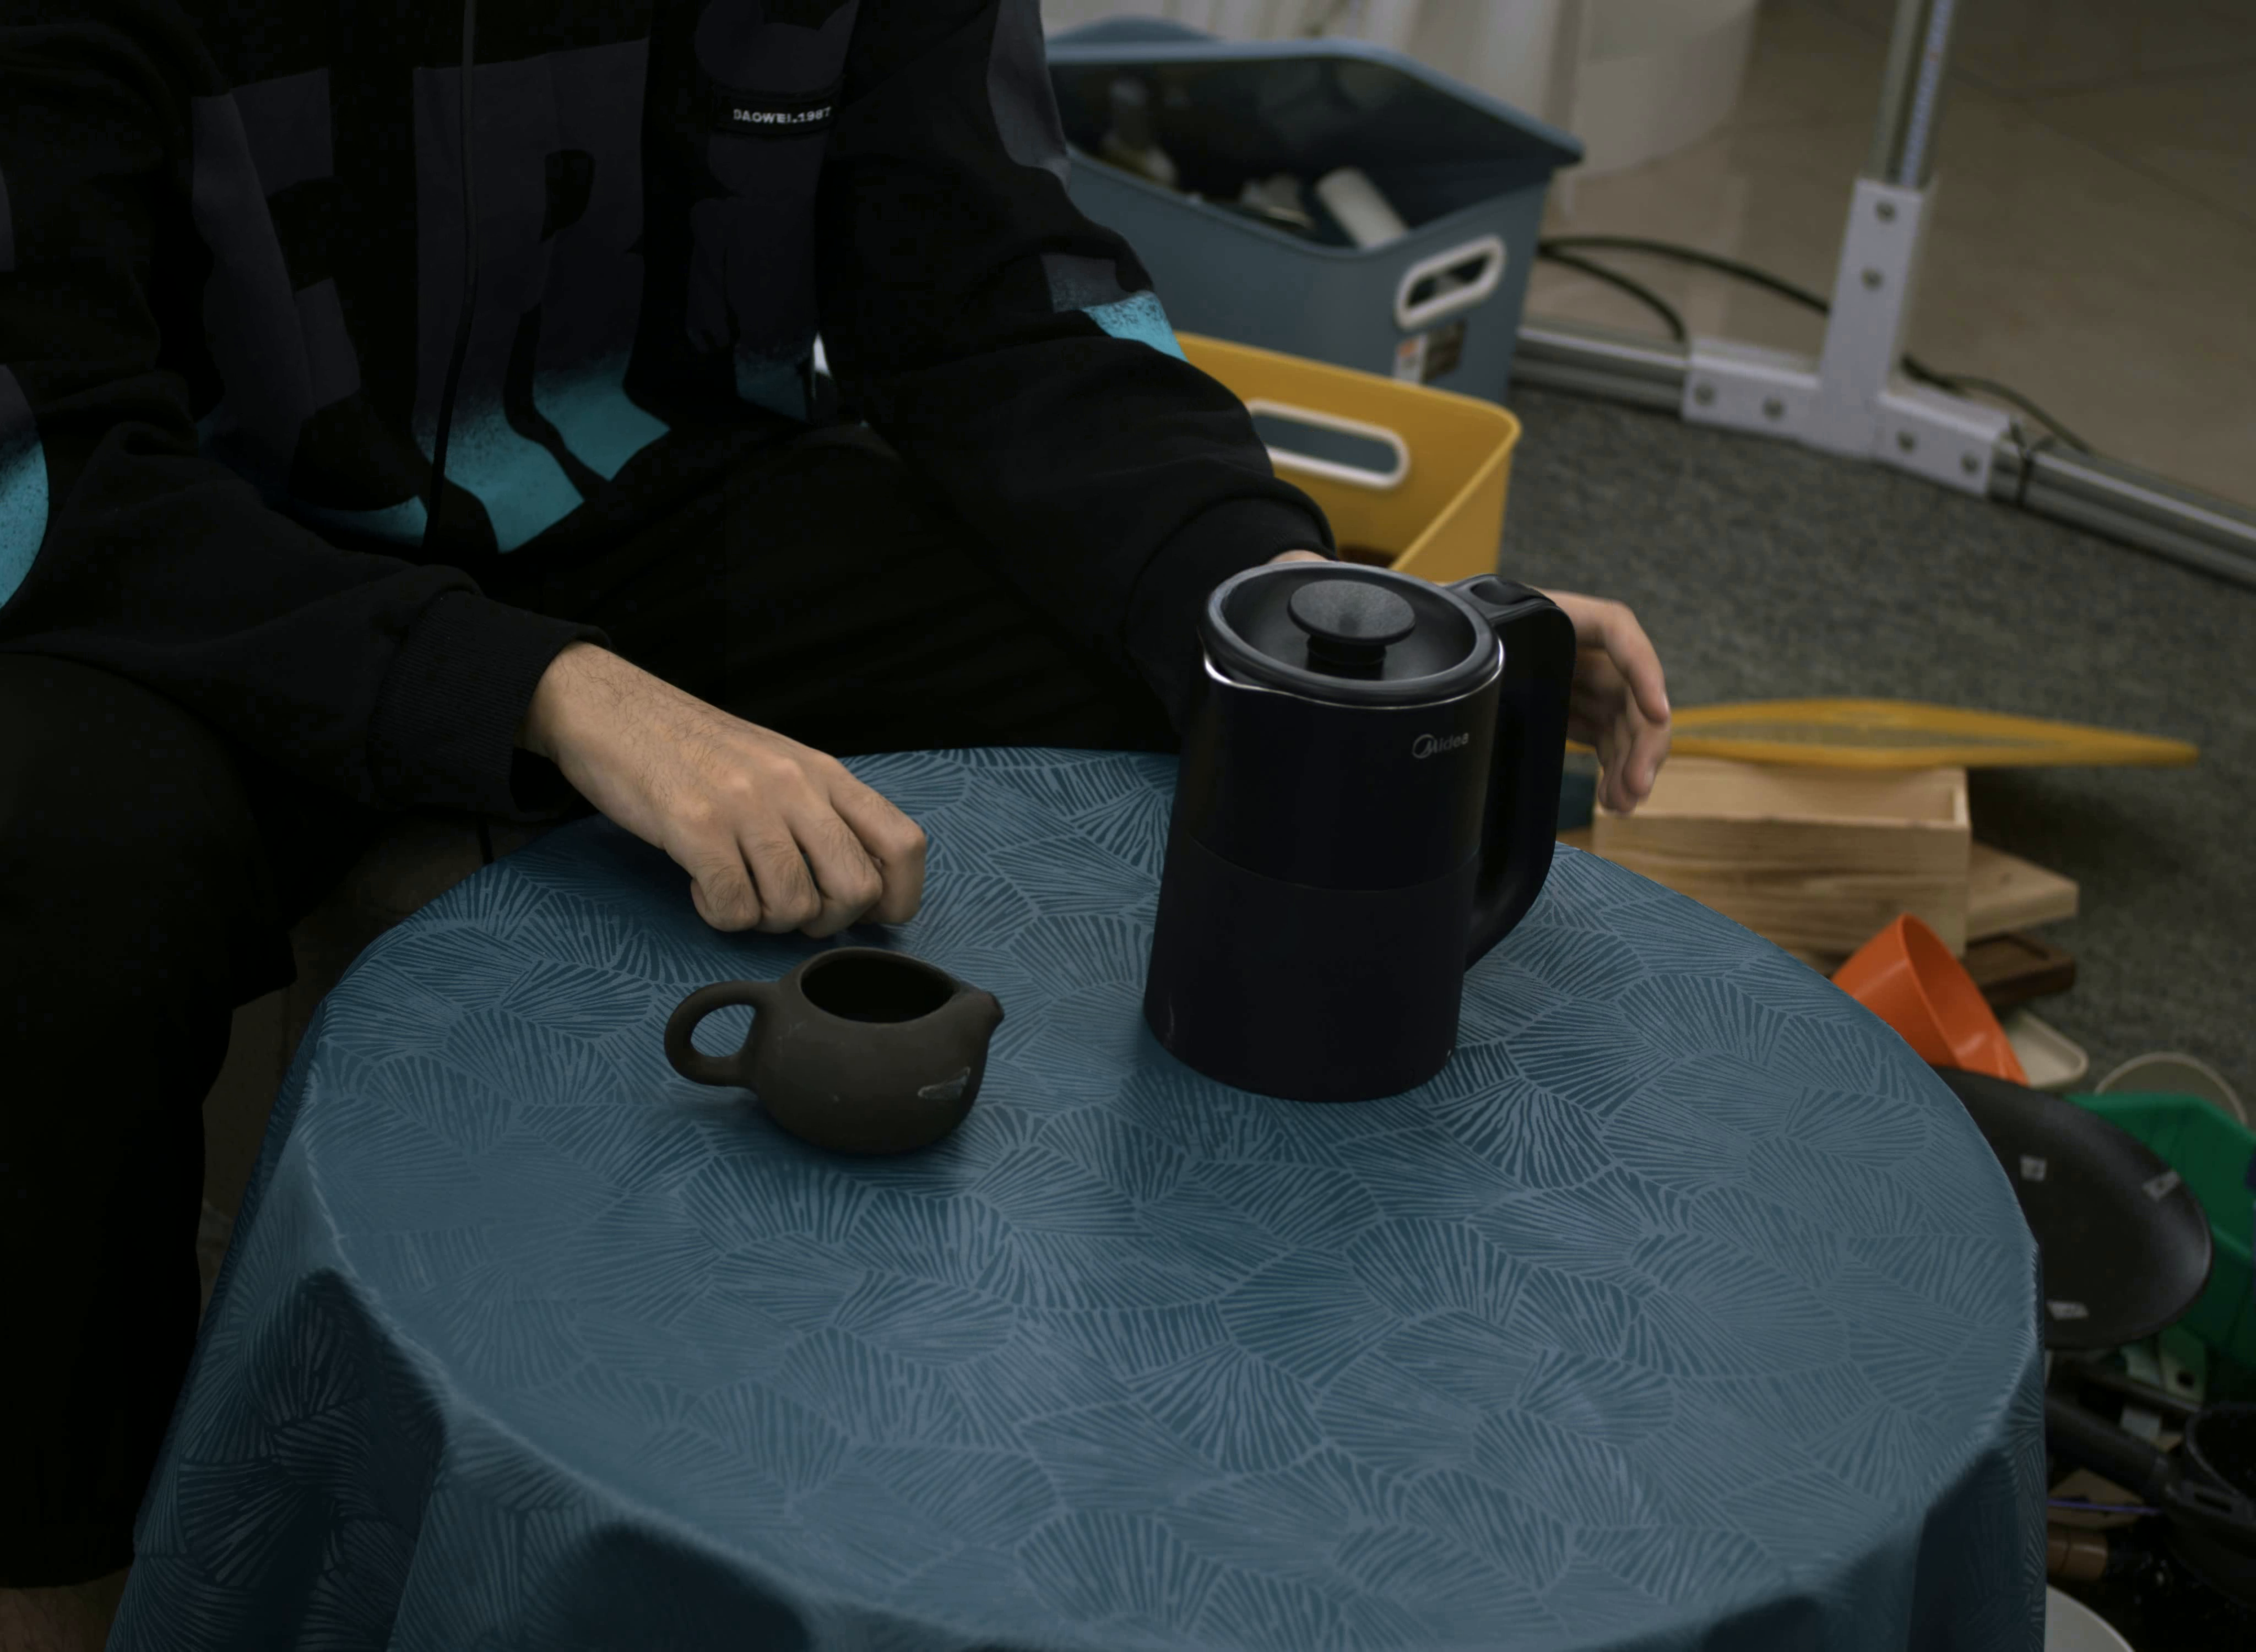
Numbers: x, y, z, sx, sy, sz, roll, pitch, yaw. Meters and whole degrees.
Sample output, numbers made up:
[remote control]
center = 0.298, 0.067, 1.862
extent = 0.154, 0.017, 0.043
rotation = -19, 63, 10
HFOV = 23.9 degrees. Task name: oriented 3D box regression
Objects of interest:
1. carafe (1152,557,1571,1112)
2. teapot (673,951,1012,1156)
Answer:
[carafe]
center = 0.086, -0.009, 1.890
extent = 0.171, 0.173, 0.115
rotation = -20, 35, -38
[teapot]
center = -0.099, 0.075, 1.817
extent = 0.114, 0.053, 0.083
rotation = 8, 25, -3
